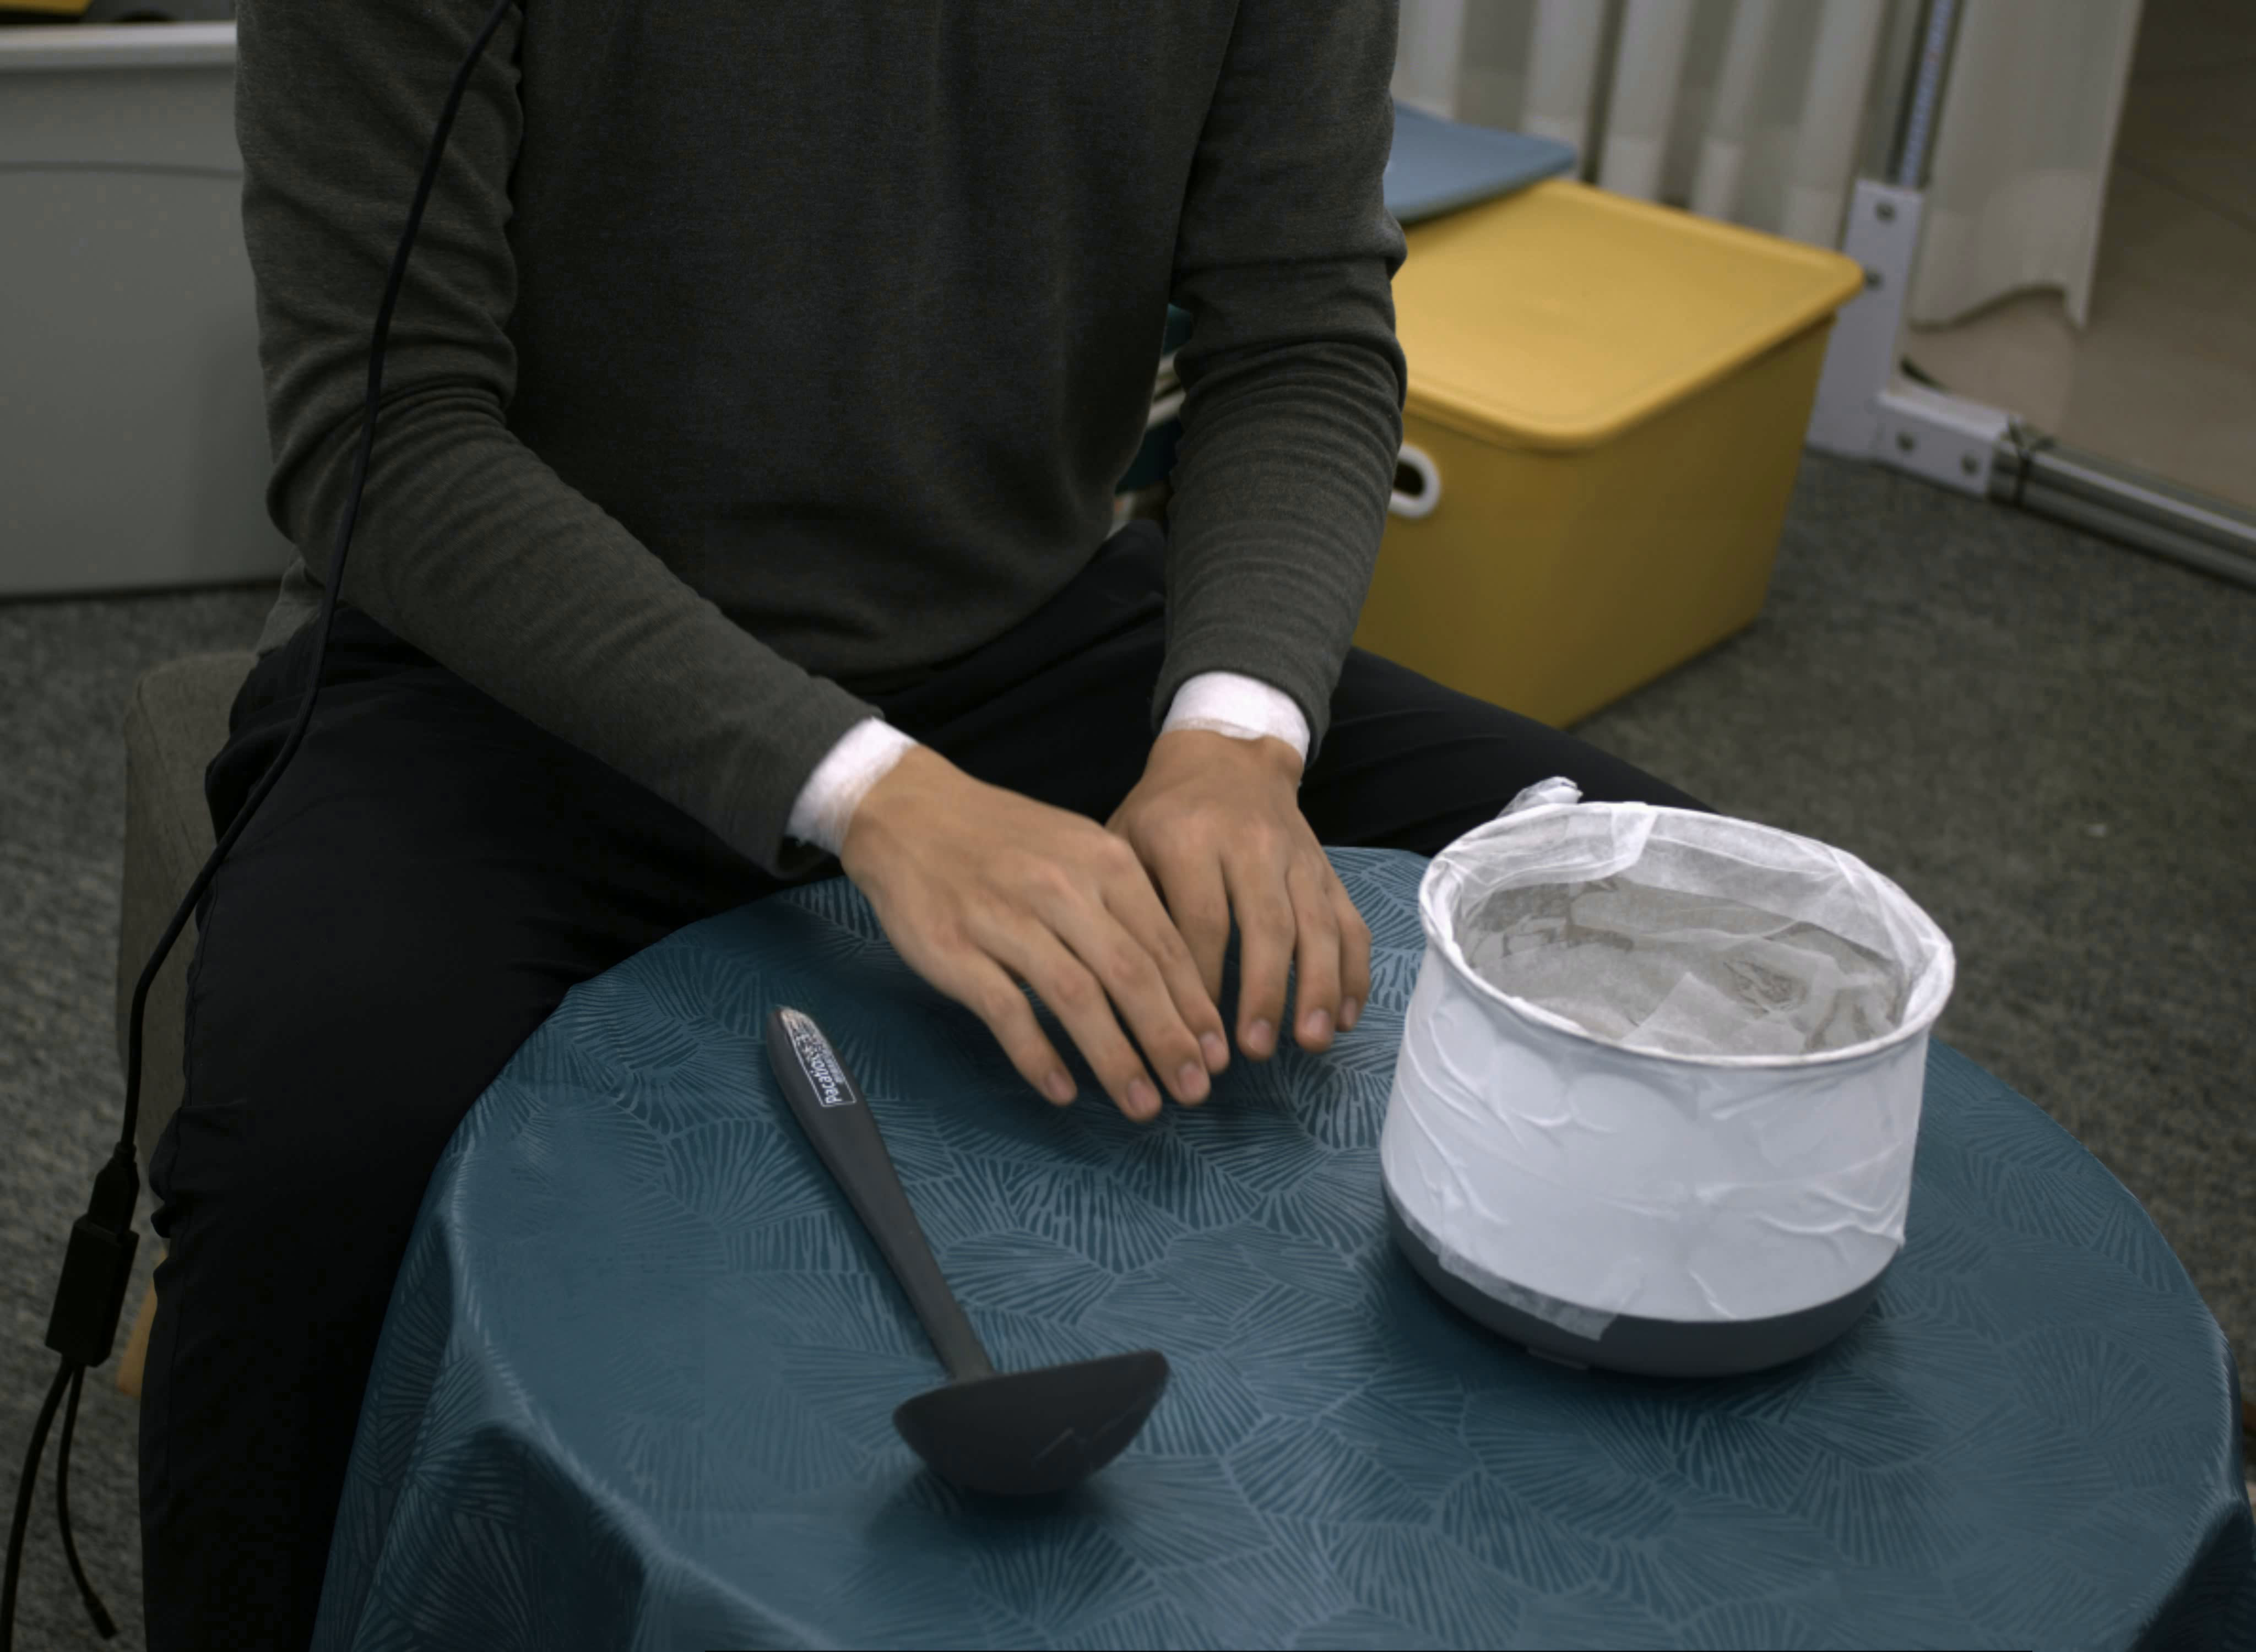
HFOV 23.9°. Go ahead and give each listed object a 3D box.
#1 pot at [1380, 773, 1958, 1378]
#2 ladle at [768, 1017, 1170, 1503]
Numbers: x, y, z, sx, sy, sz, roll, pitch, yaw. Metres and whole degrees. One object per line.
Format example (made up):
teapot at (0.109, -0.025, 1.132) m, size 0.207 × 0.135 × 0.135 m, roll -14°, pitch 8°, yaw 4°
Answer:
pot at (0.165, 0.076, 1.785) m, size 0.177 × 0.136 × 0.236 m, roll -5°, pitch 29°, yaw -22°
ladle at (-0.070, 0.122, 1.725) m, size 0.085 × 0.064 × 0.317 m, roll -2°, pitch 28°, yaw -19°
